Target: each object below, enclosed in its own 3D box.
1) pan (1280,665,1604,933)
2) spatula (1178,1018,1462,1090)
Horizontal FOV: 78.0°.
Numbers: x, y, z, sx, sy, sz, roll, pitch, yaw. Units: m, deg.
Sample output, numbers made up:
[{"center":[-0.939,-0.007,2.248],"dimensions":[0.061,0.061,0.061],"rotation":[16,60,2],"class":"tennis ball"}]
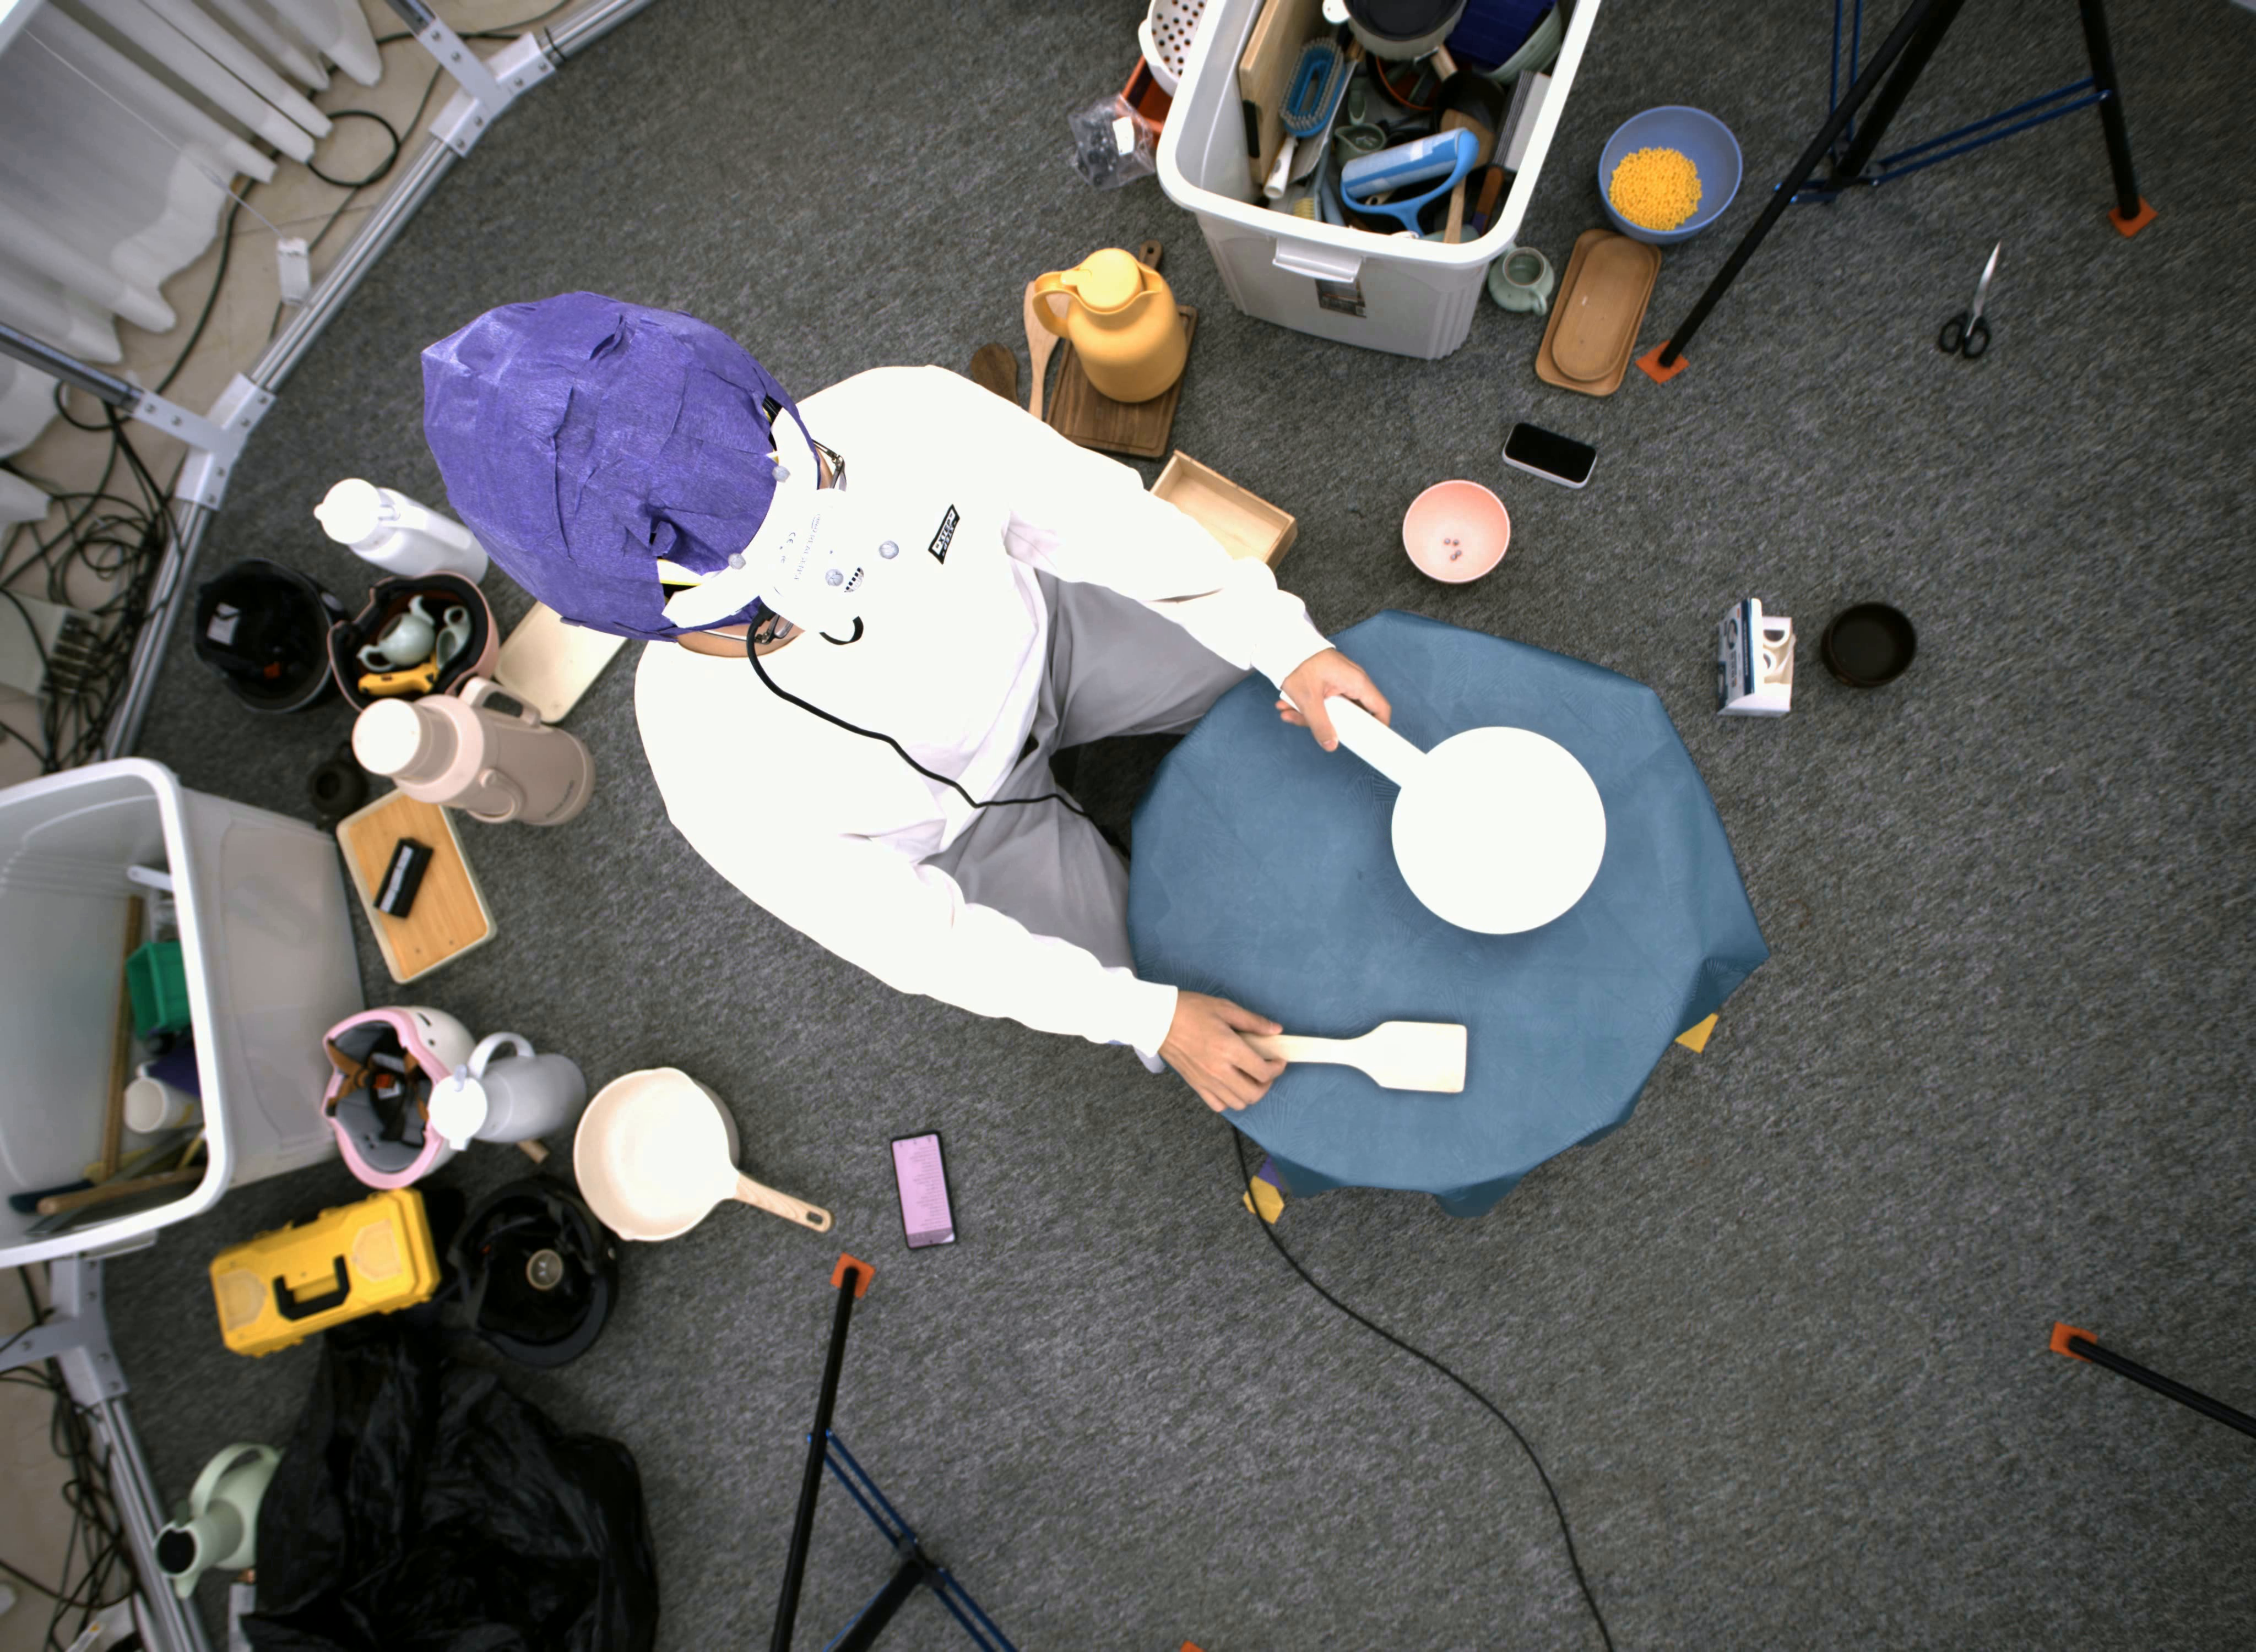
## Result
[{"center":[0.308,-0.040,1.393],"dimensions":[0.353,0.102,0.202],"rotation":[38,96,14],"class":"pan"},{"center":[0.197,0.230,1.441],"dimensions":[0.294,0.010,0.072],"rotation":[2,92,9],"class":"spatula"}]
